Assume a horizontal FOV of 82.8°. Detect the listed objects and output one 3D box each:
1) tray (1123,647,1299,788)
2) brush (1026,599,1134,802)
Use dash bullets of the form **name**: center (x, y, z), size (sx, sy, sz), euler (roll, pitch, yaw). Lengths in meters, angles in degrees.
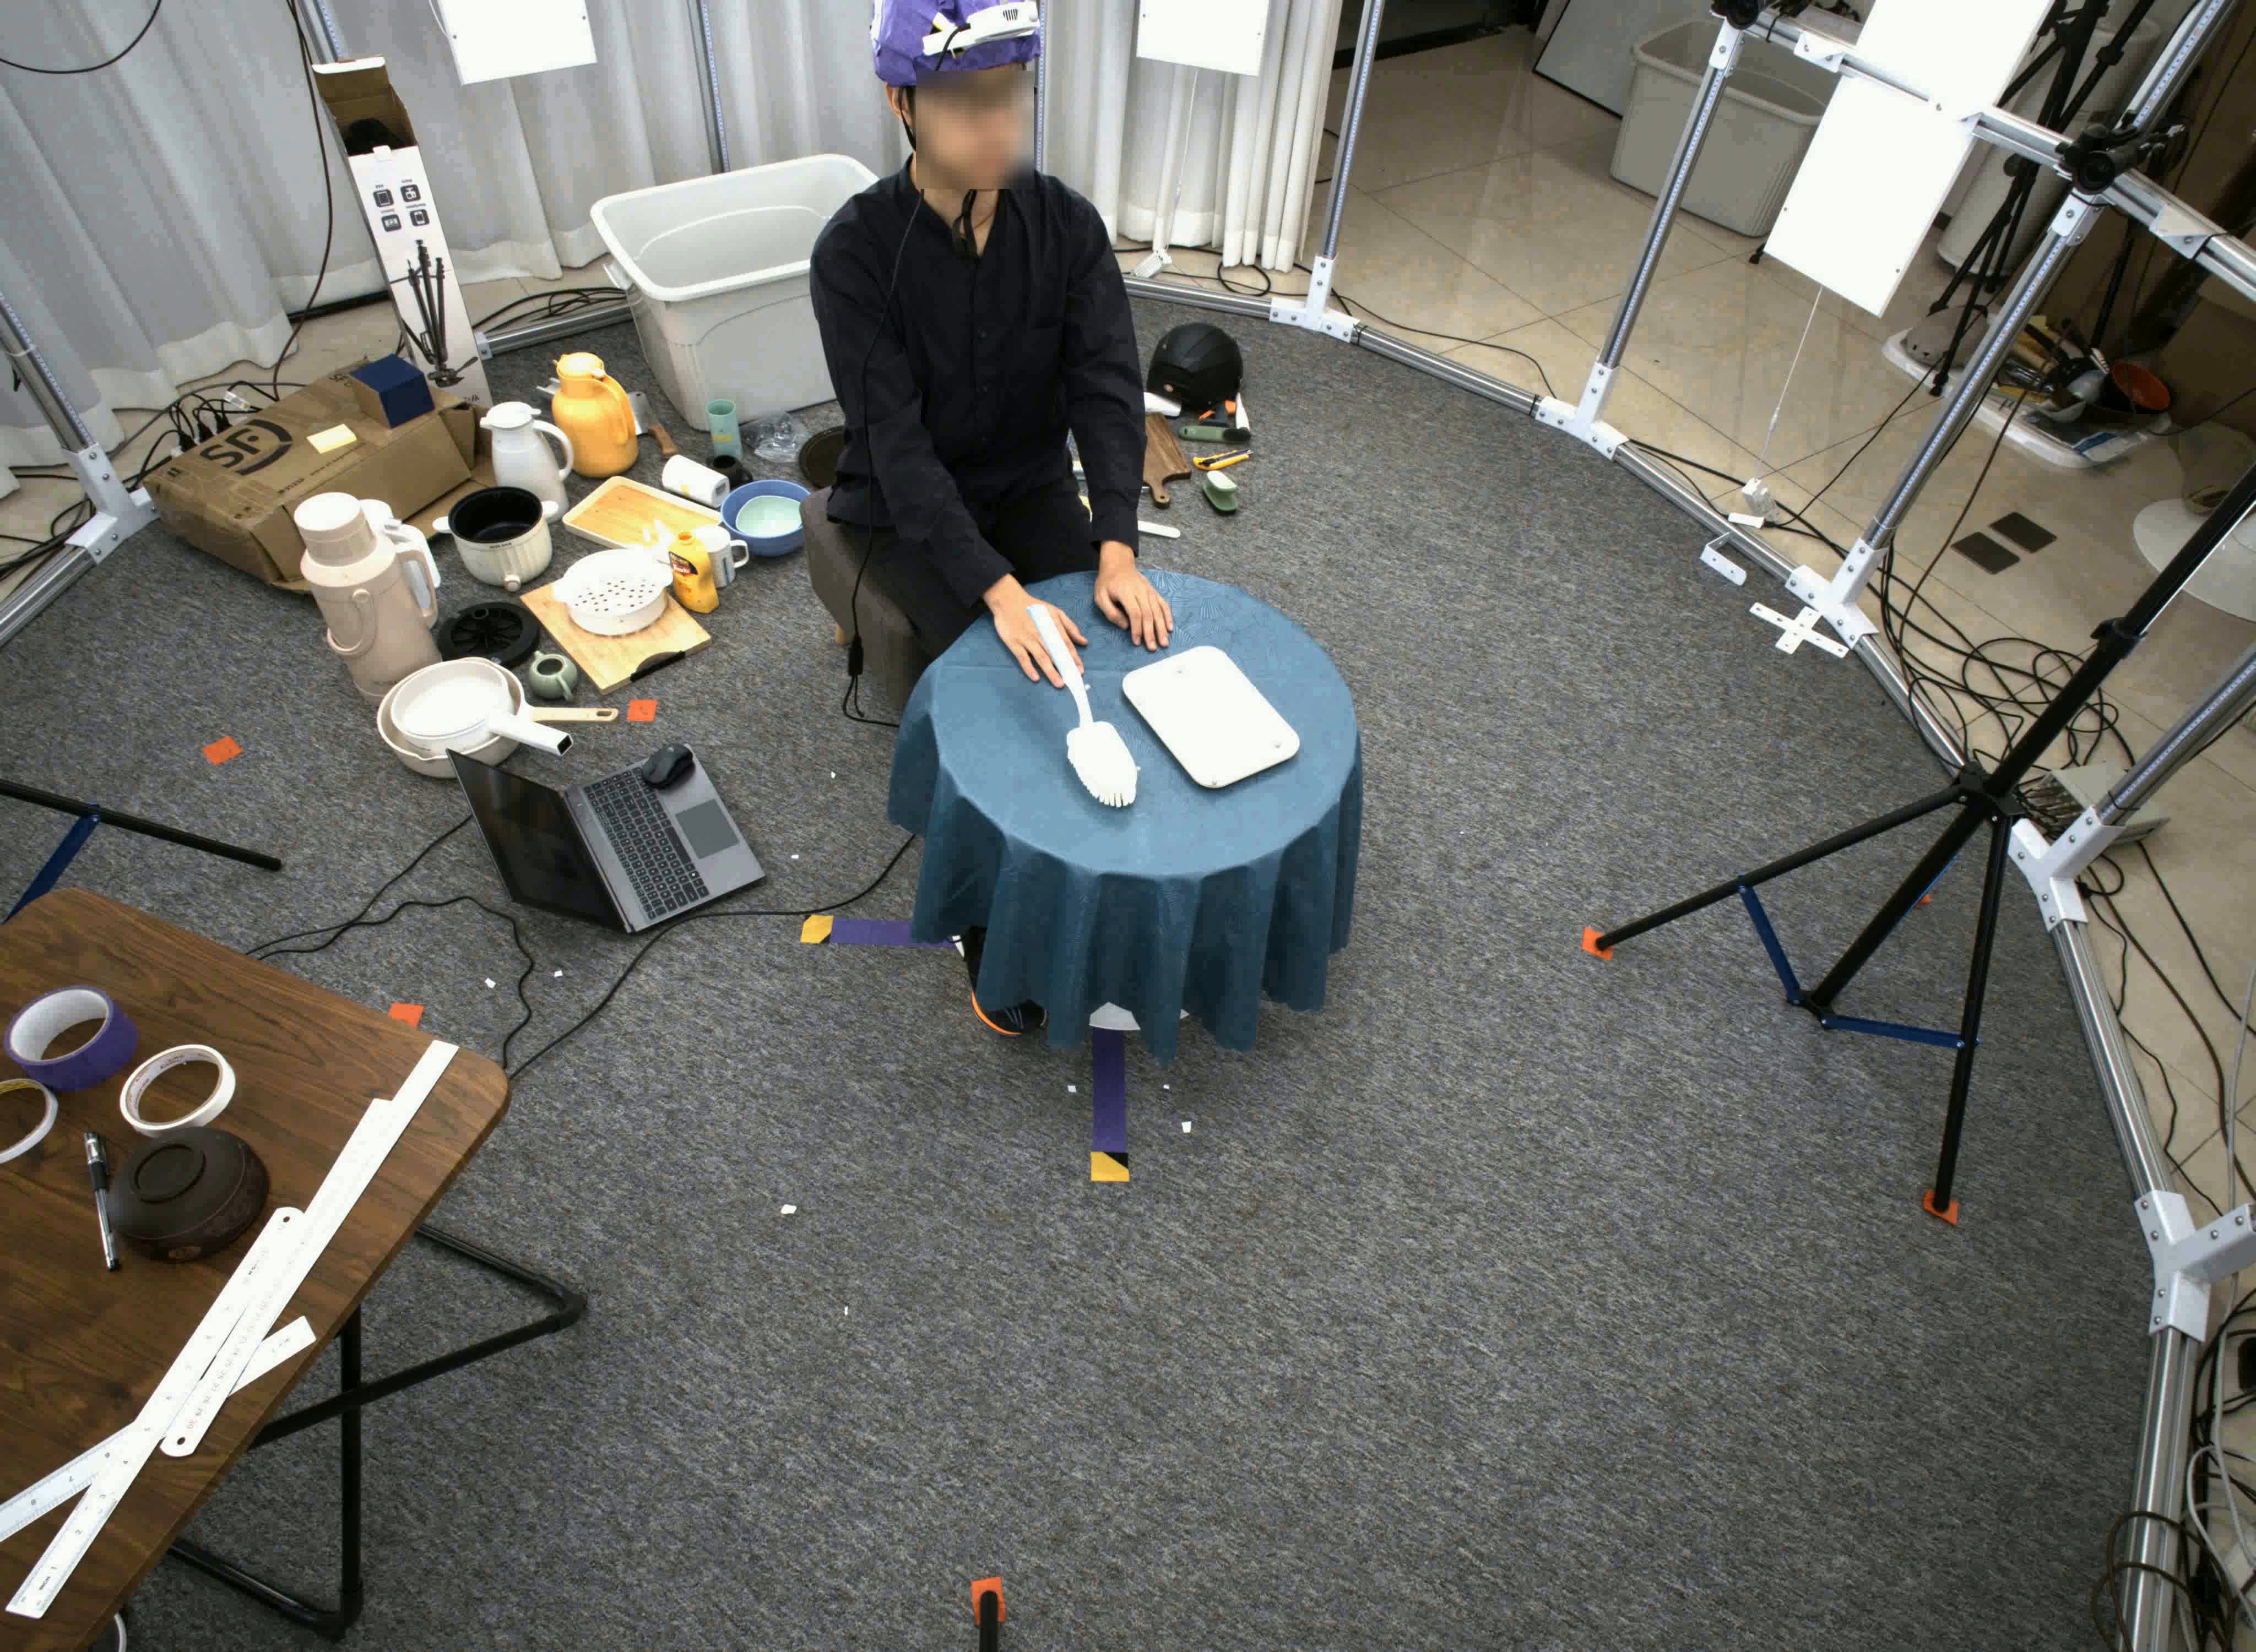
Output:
- **tray**: center (0.115, -0.155, 1.801), size (0.172, 0.017, 0.244), euler (-22, 55, -22)
- **brush**: center (-0.069, -0.169, 1.755), size (0.082, 0.083, 0.331), euler (6, 51, -50)
